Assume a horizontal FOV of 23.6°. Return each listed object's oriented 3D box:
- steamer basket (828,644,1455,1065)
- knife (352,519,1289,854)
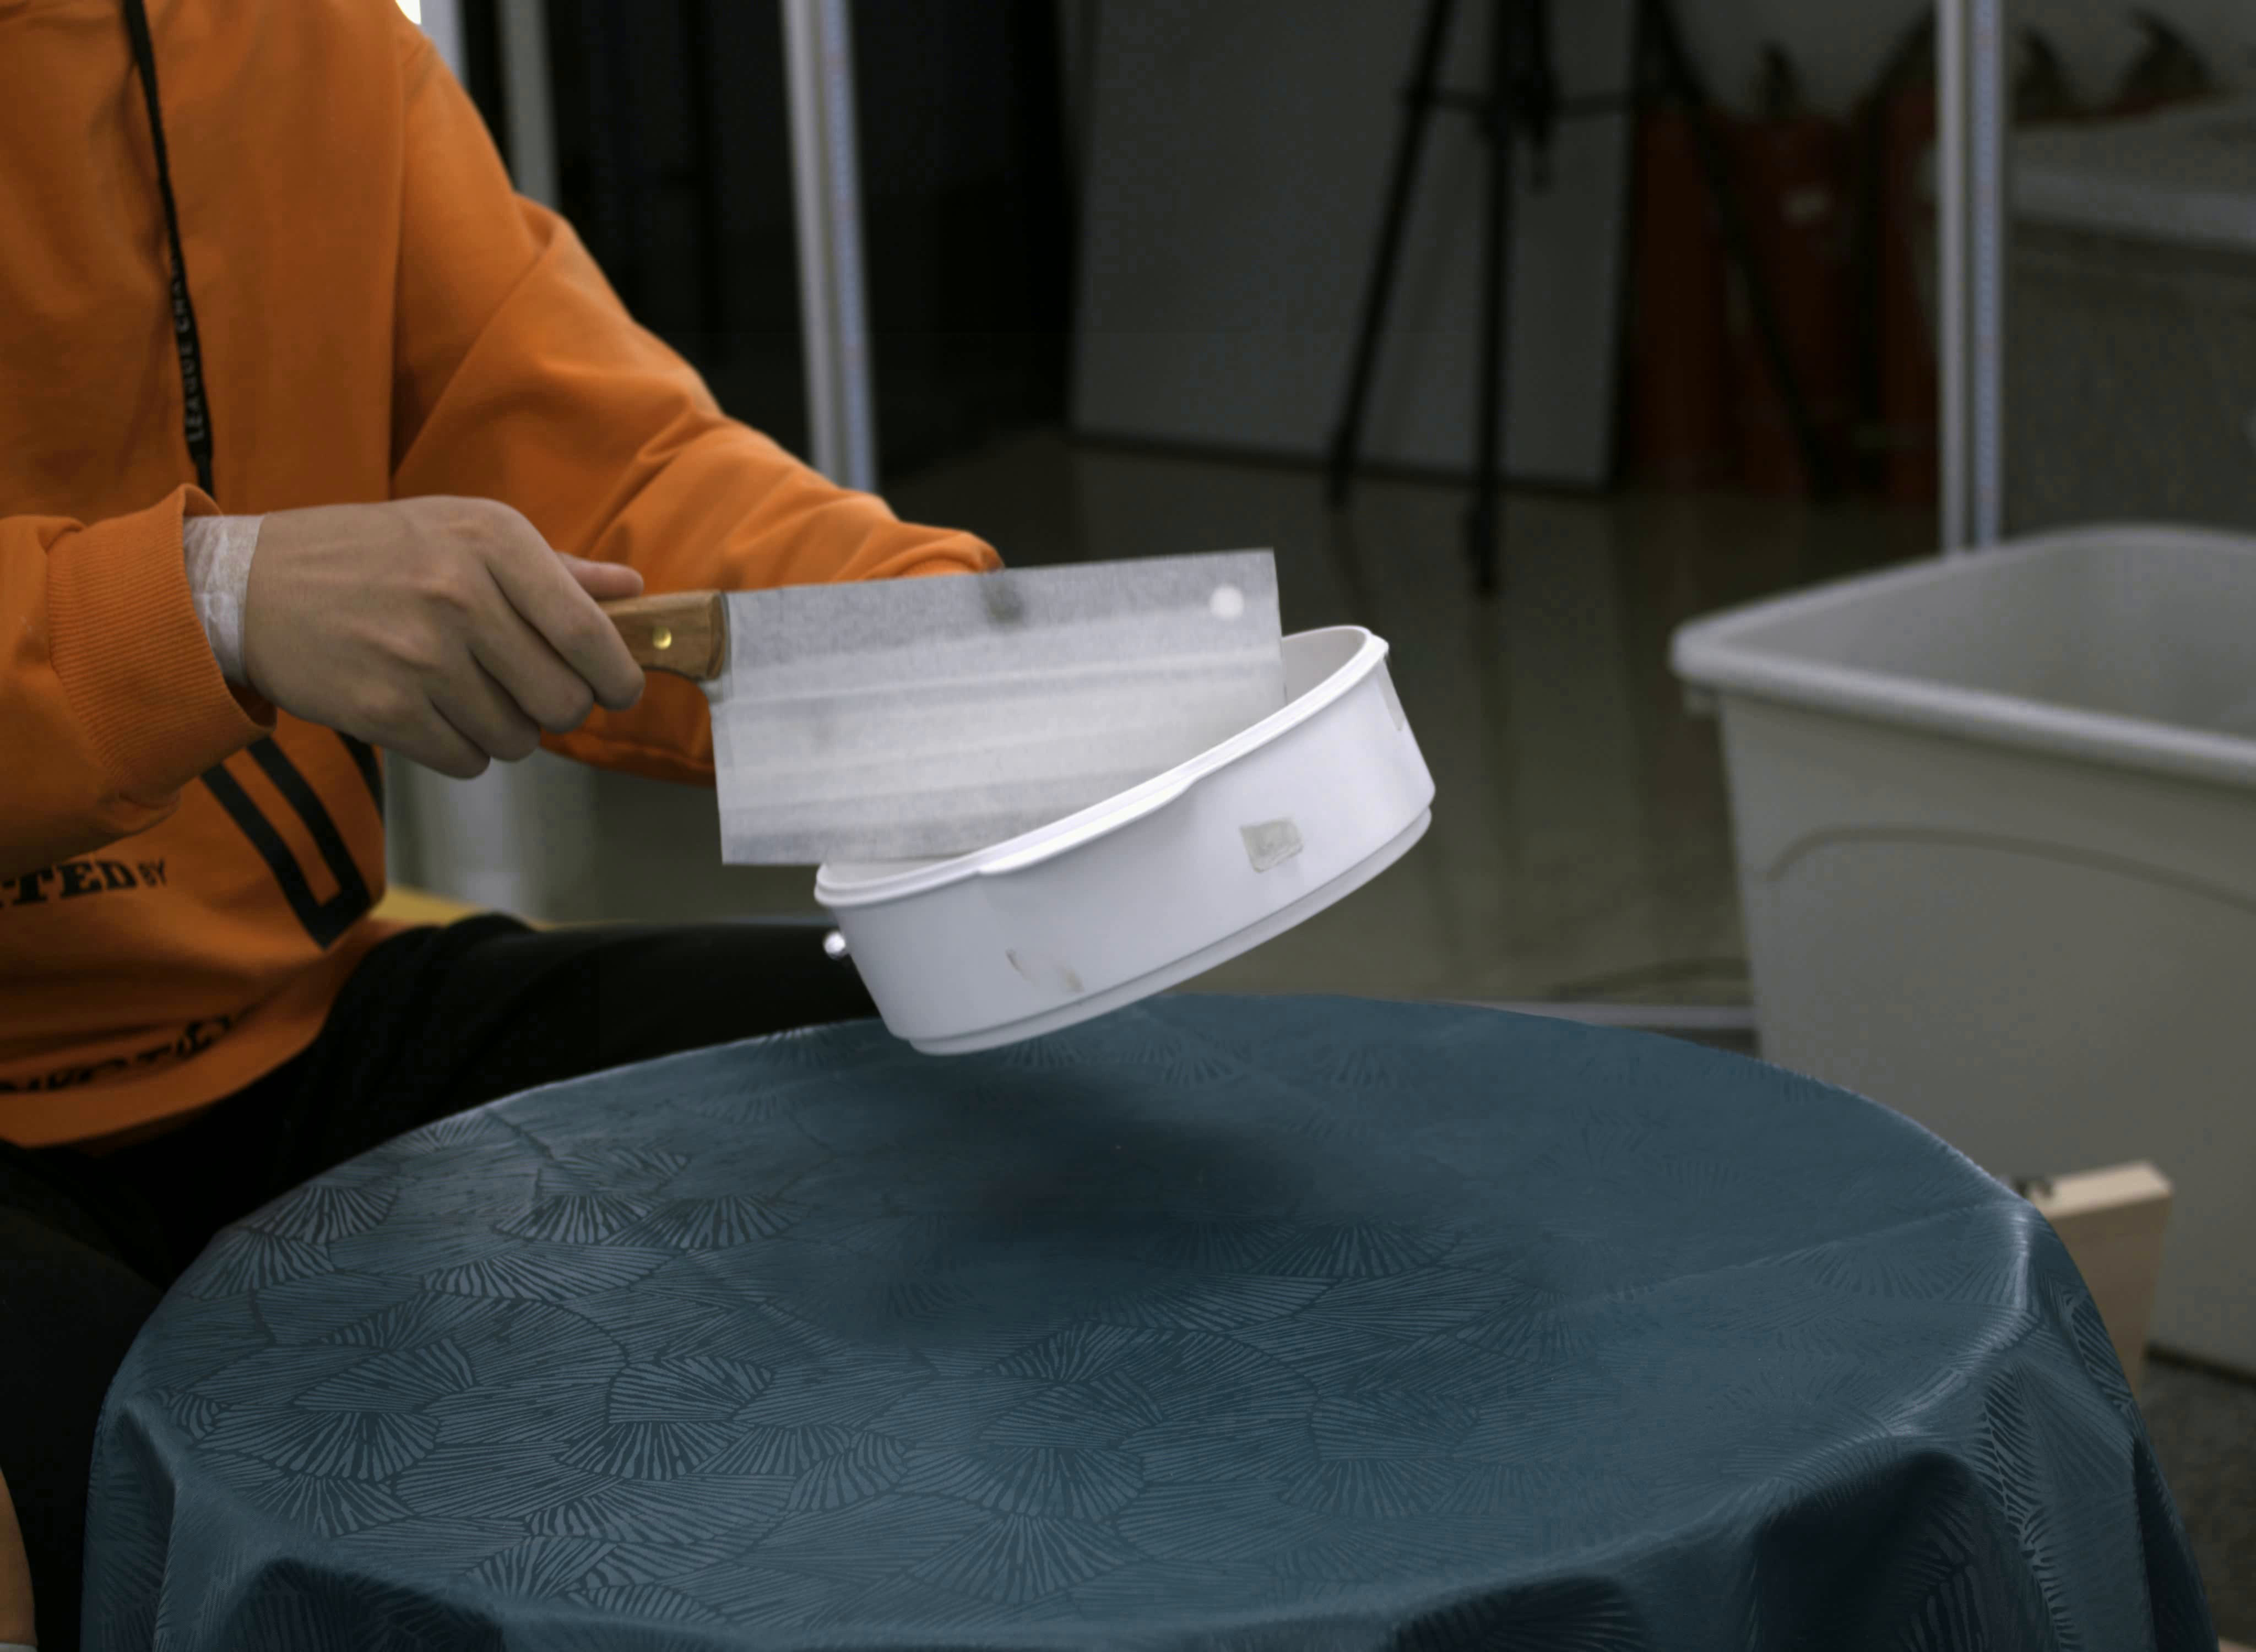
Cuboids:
[{"bbox_3d":[0.007,0.010,1.720,0.200,0.069,0.230,-21,11,5],"label":"steamer basket"},{"bbox_3d":[-0.099,-0.040,1.735,0.303,0.094,0.021,-5,7,10],"label":"knife"}]
